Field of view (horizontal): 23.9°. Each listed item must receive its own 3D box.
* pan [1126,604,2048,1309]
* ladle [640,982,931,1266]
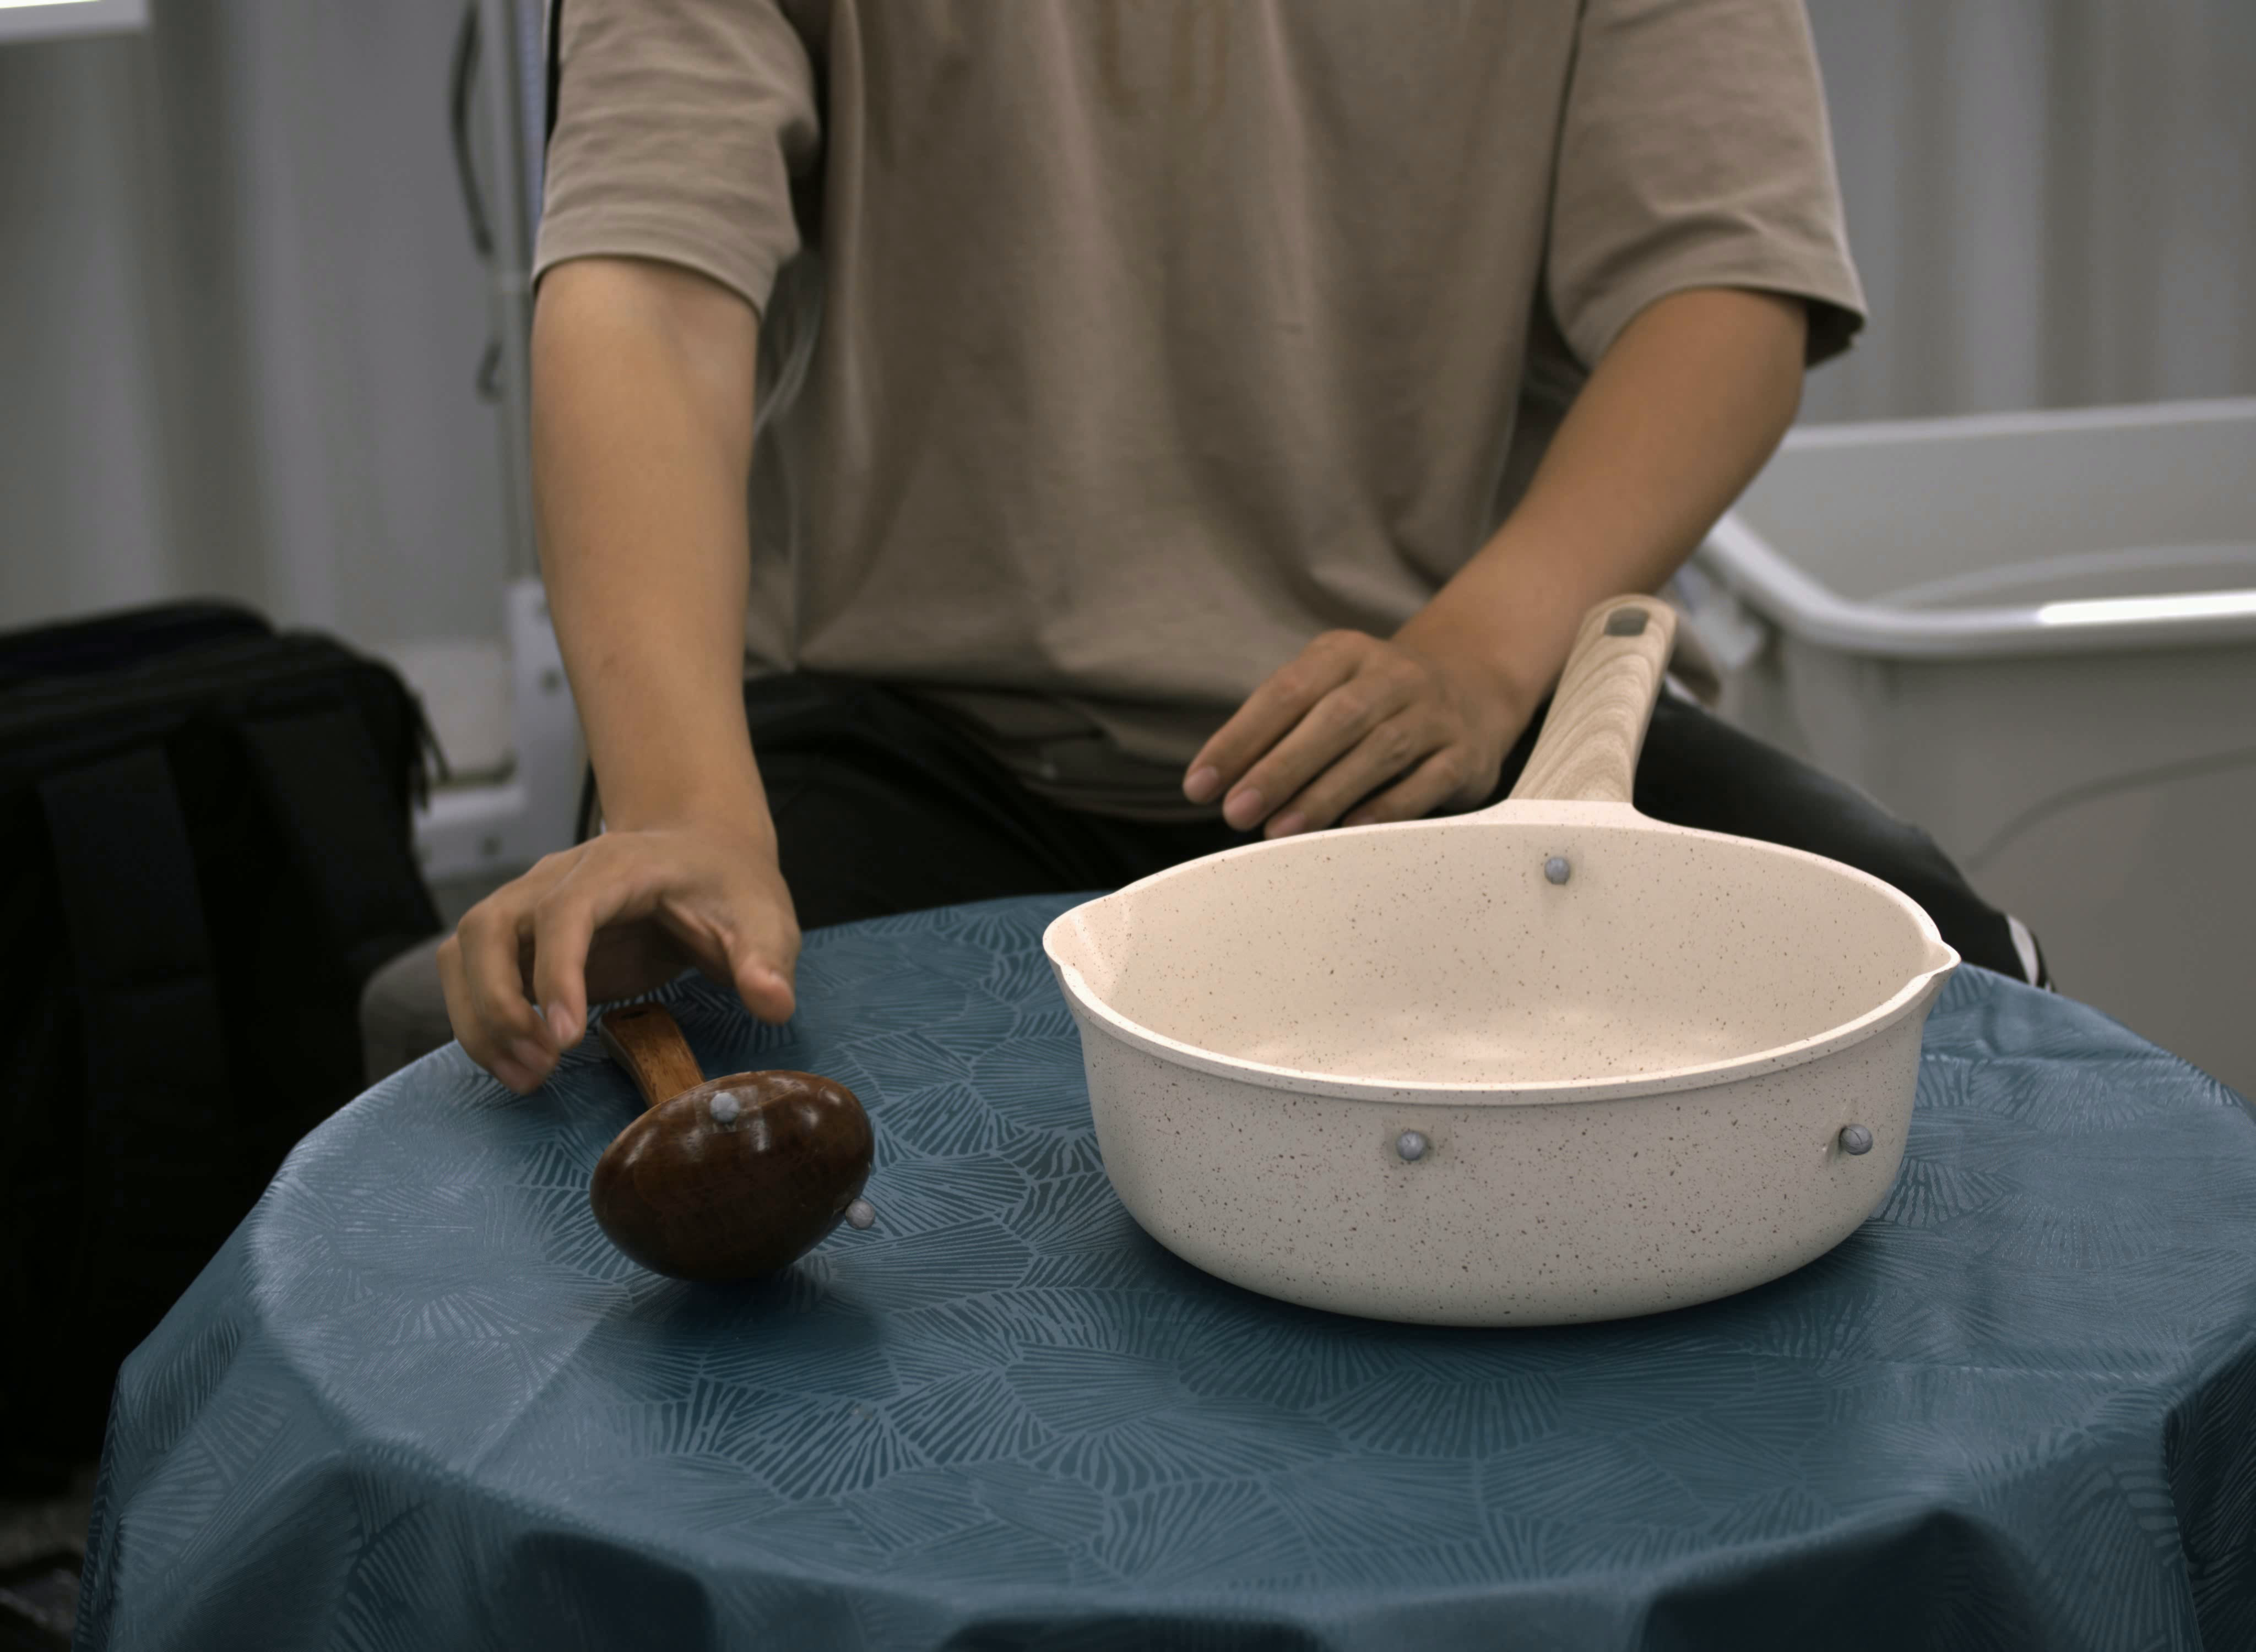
[{"bbox_3d":[0.149,0.035,1.597,0.265,0.102,0.432,0,16,13],"label":"pan"},{"bbox_3d":[-0.114,0.064,1.570,0.081,0.076,0.277,-9,18,-8],"label":"ladle"}]
